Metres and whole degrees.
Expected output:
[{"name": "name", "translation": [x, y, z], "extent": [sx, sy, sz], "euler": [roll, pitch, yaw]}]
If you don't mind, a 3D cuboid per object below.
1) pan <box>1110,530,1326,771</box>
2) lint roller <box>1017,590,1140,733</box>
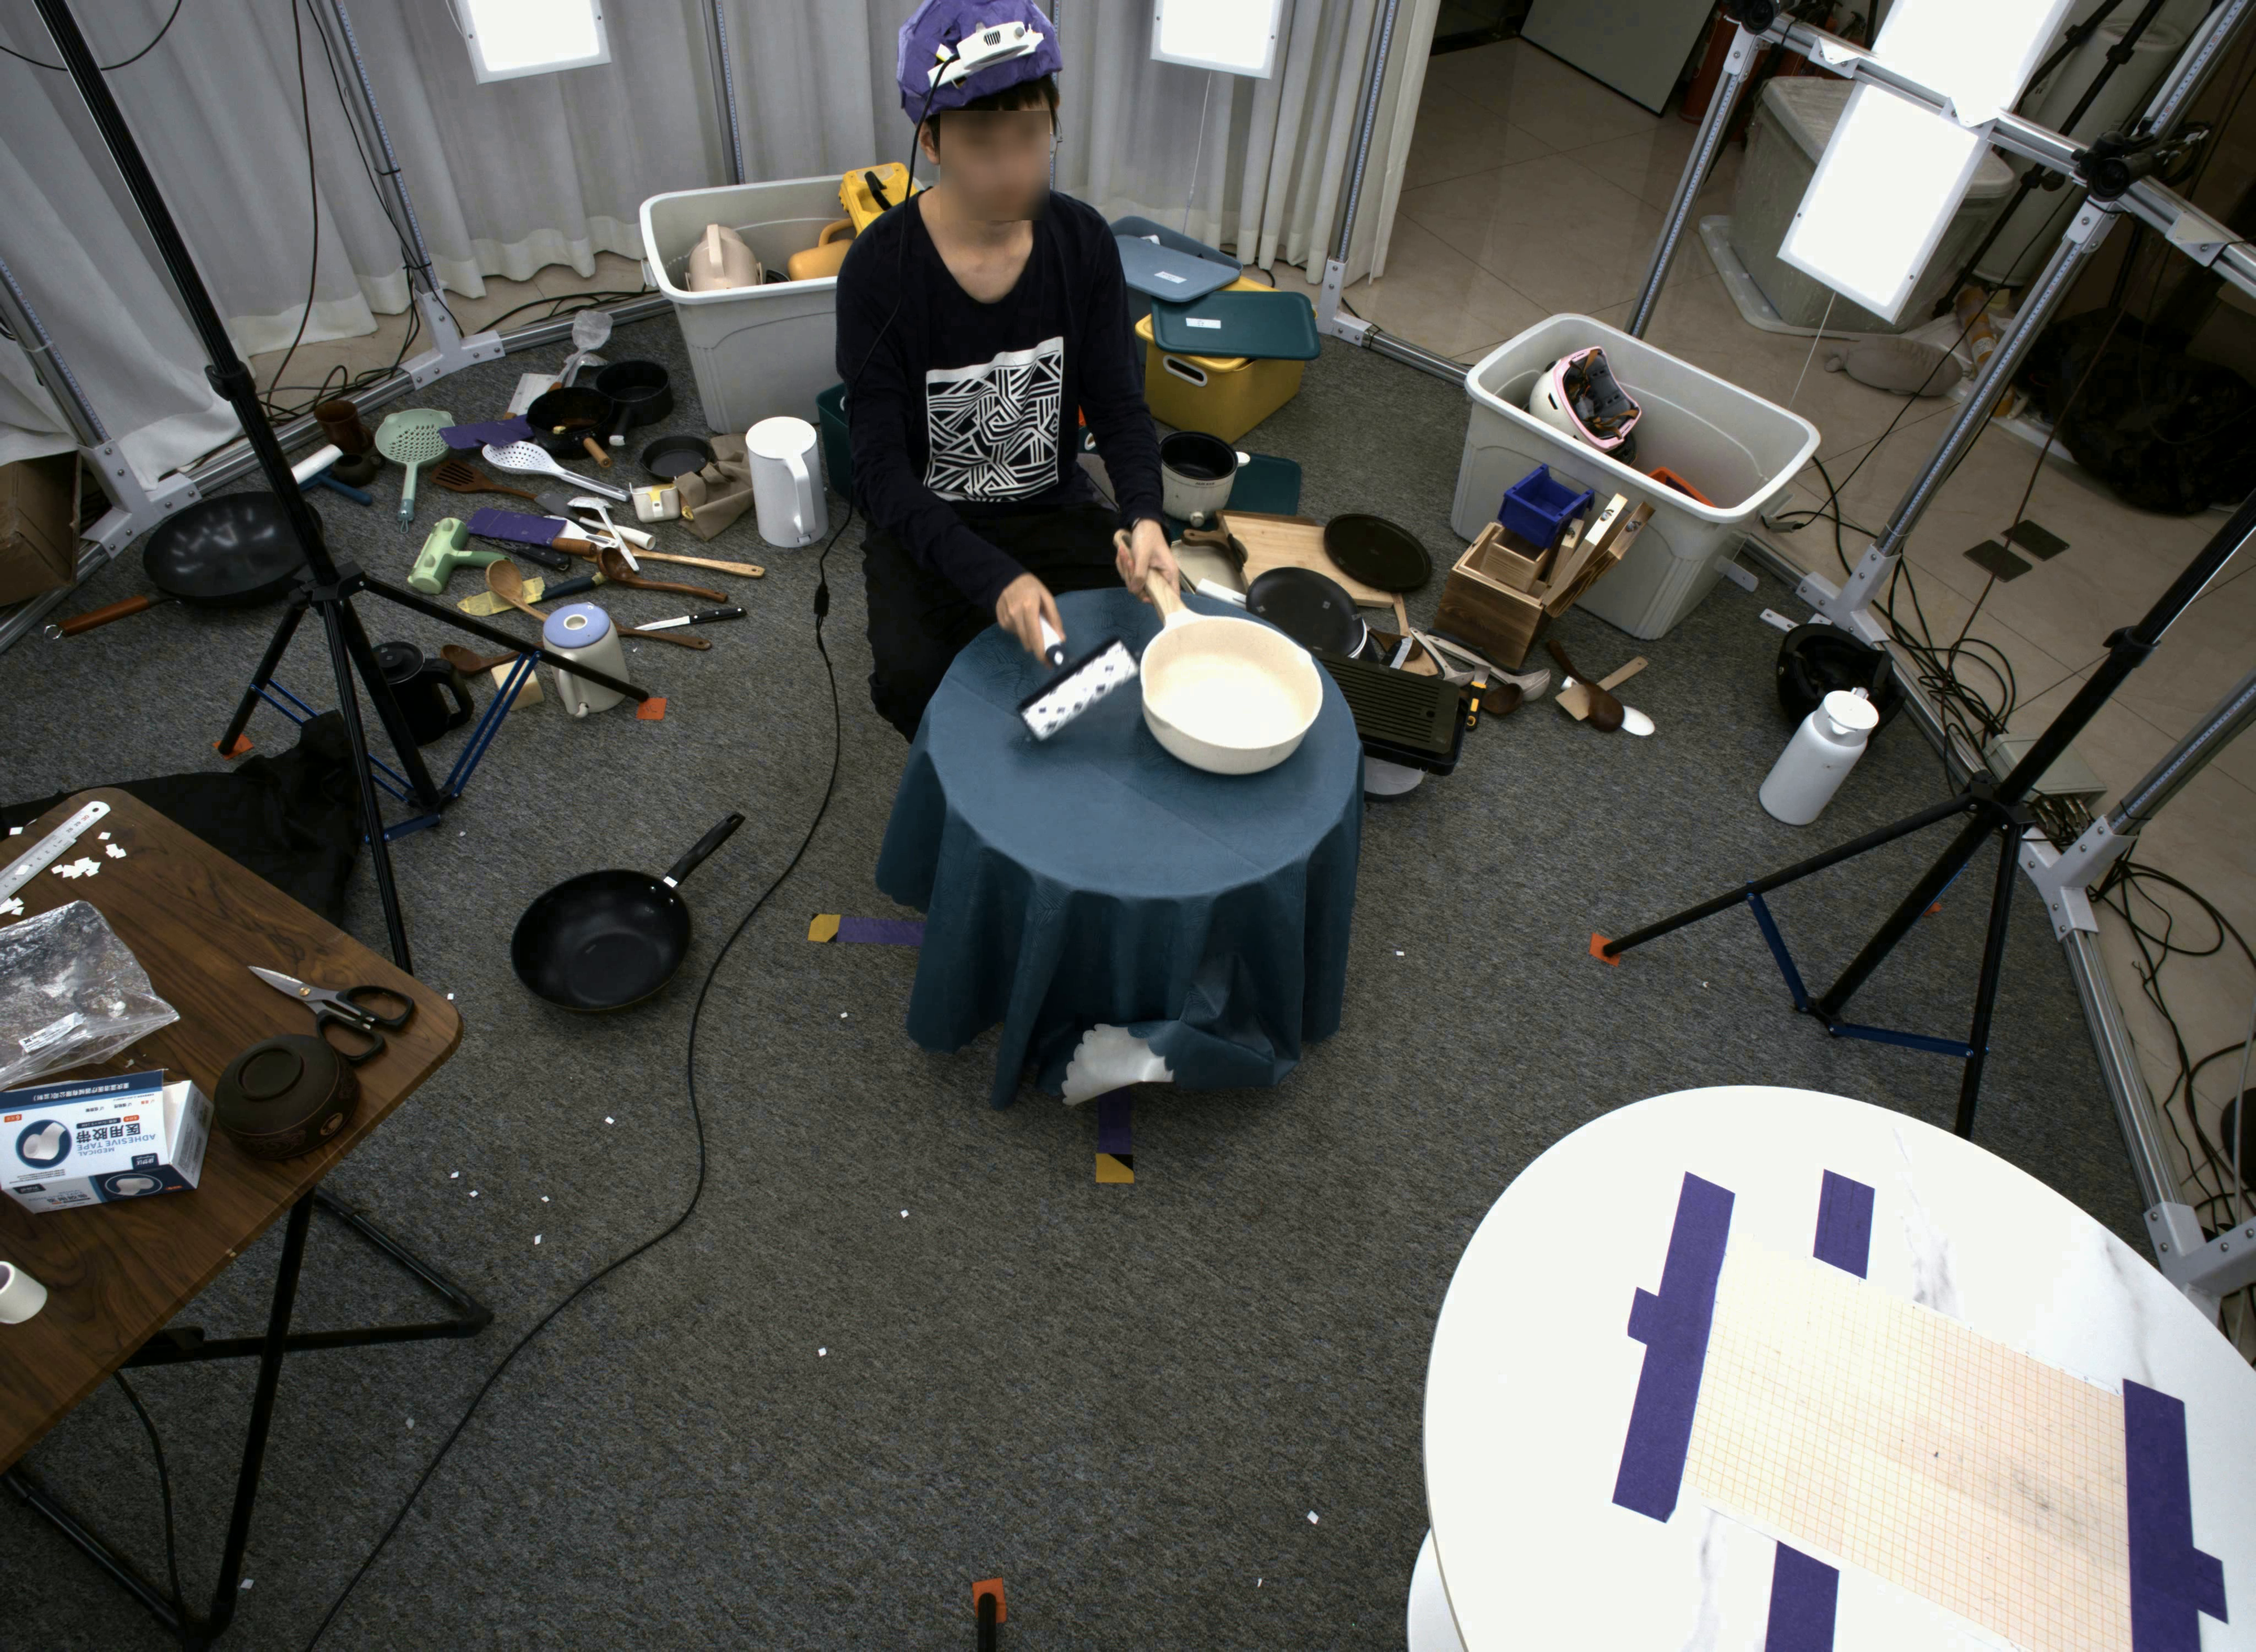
[{"name": "pan", "translation": [0.093, -0.249, 1.810], "extent": [0.264, 0.099, 0.443], "euler": [-21, 56, -25]}, {"name": "lint roller", "translation": [-0.106, -0.257, 1.790], "extent": [0.176, 0.049, 0.252], "euler": [-37, 52, 4]}]
